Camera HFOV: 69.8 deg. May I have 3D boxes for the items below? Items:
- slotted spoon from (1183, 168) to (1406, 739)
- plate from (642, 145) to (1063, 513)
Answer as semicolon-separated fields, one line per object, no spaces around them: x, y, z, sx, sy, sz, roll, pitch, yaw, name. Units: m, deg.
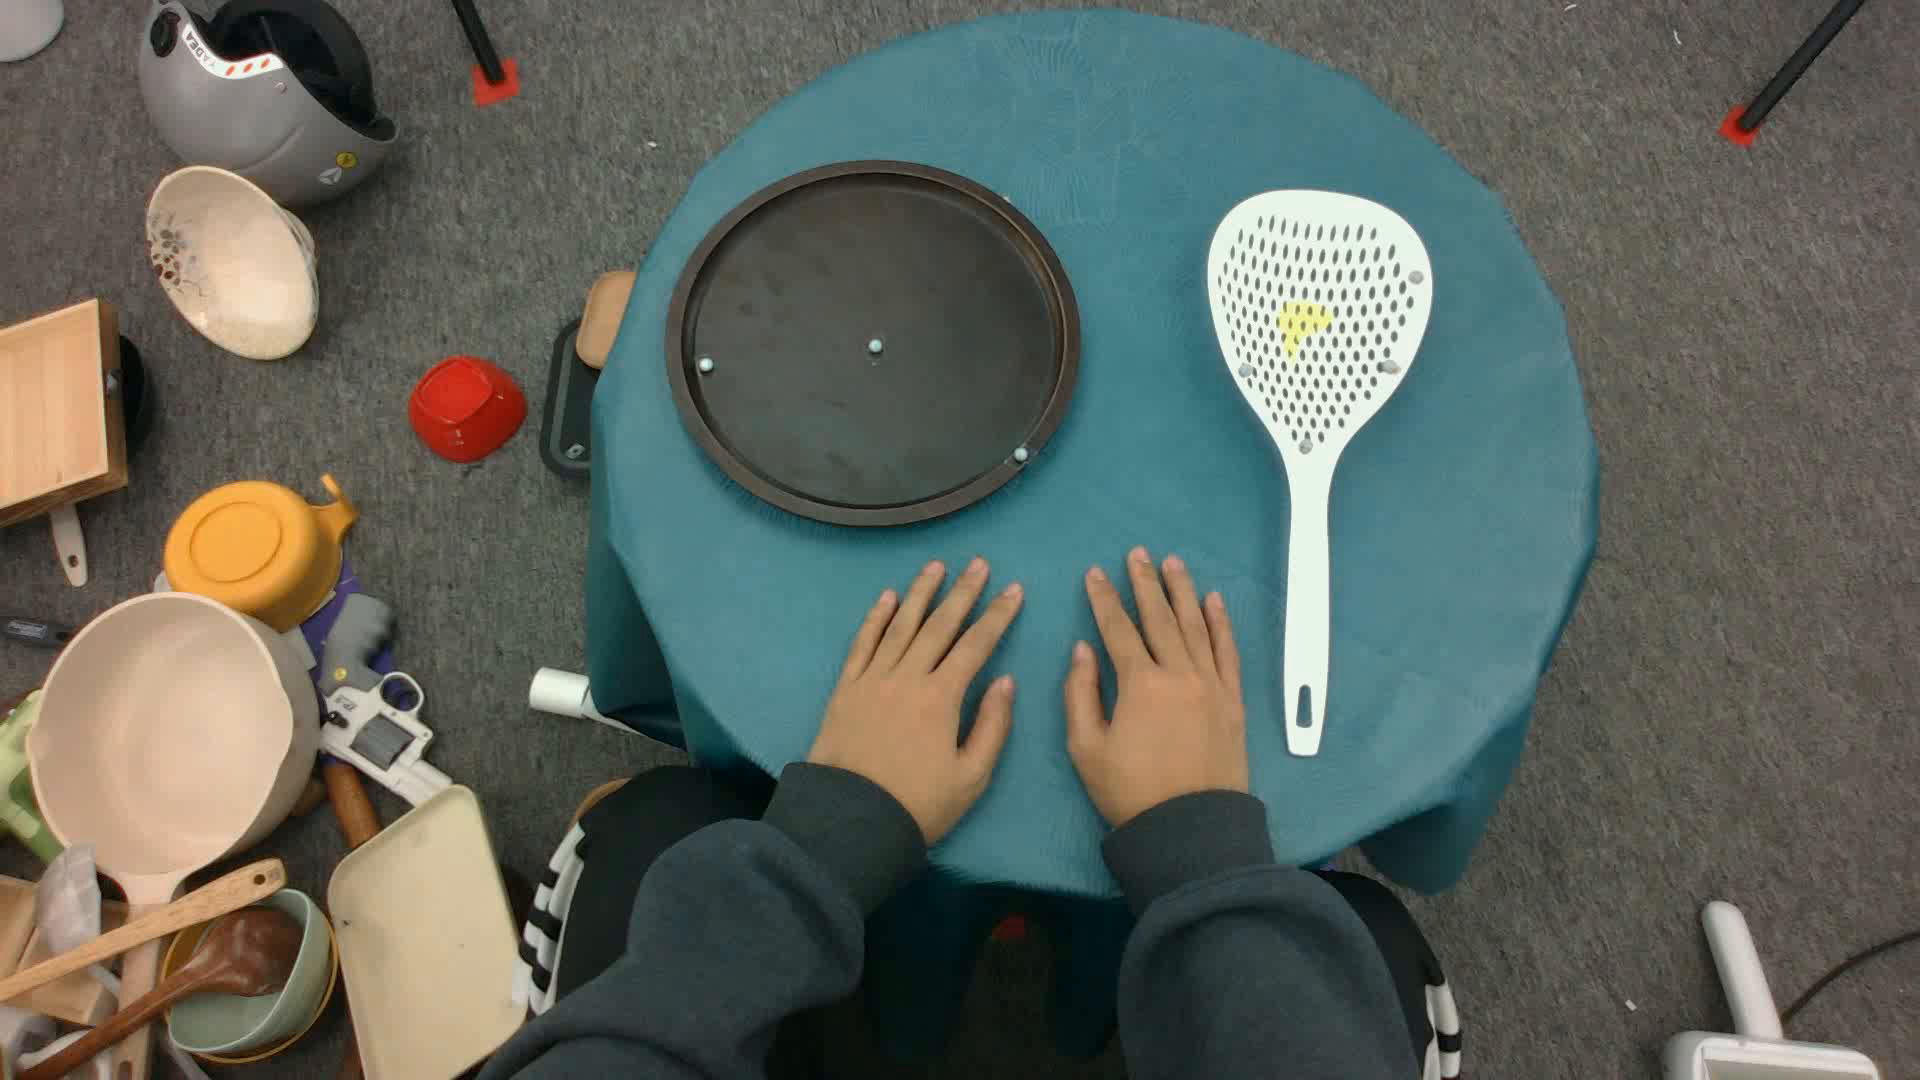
0.193;-0.060;0.809;0.137;0.050;0.349;5;68;-2;slotted spoon
-0.065;-0.132;0.837;0.255;0.029;0.255;1;69;-3;plate
